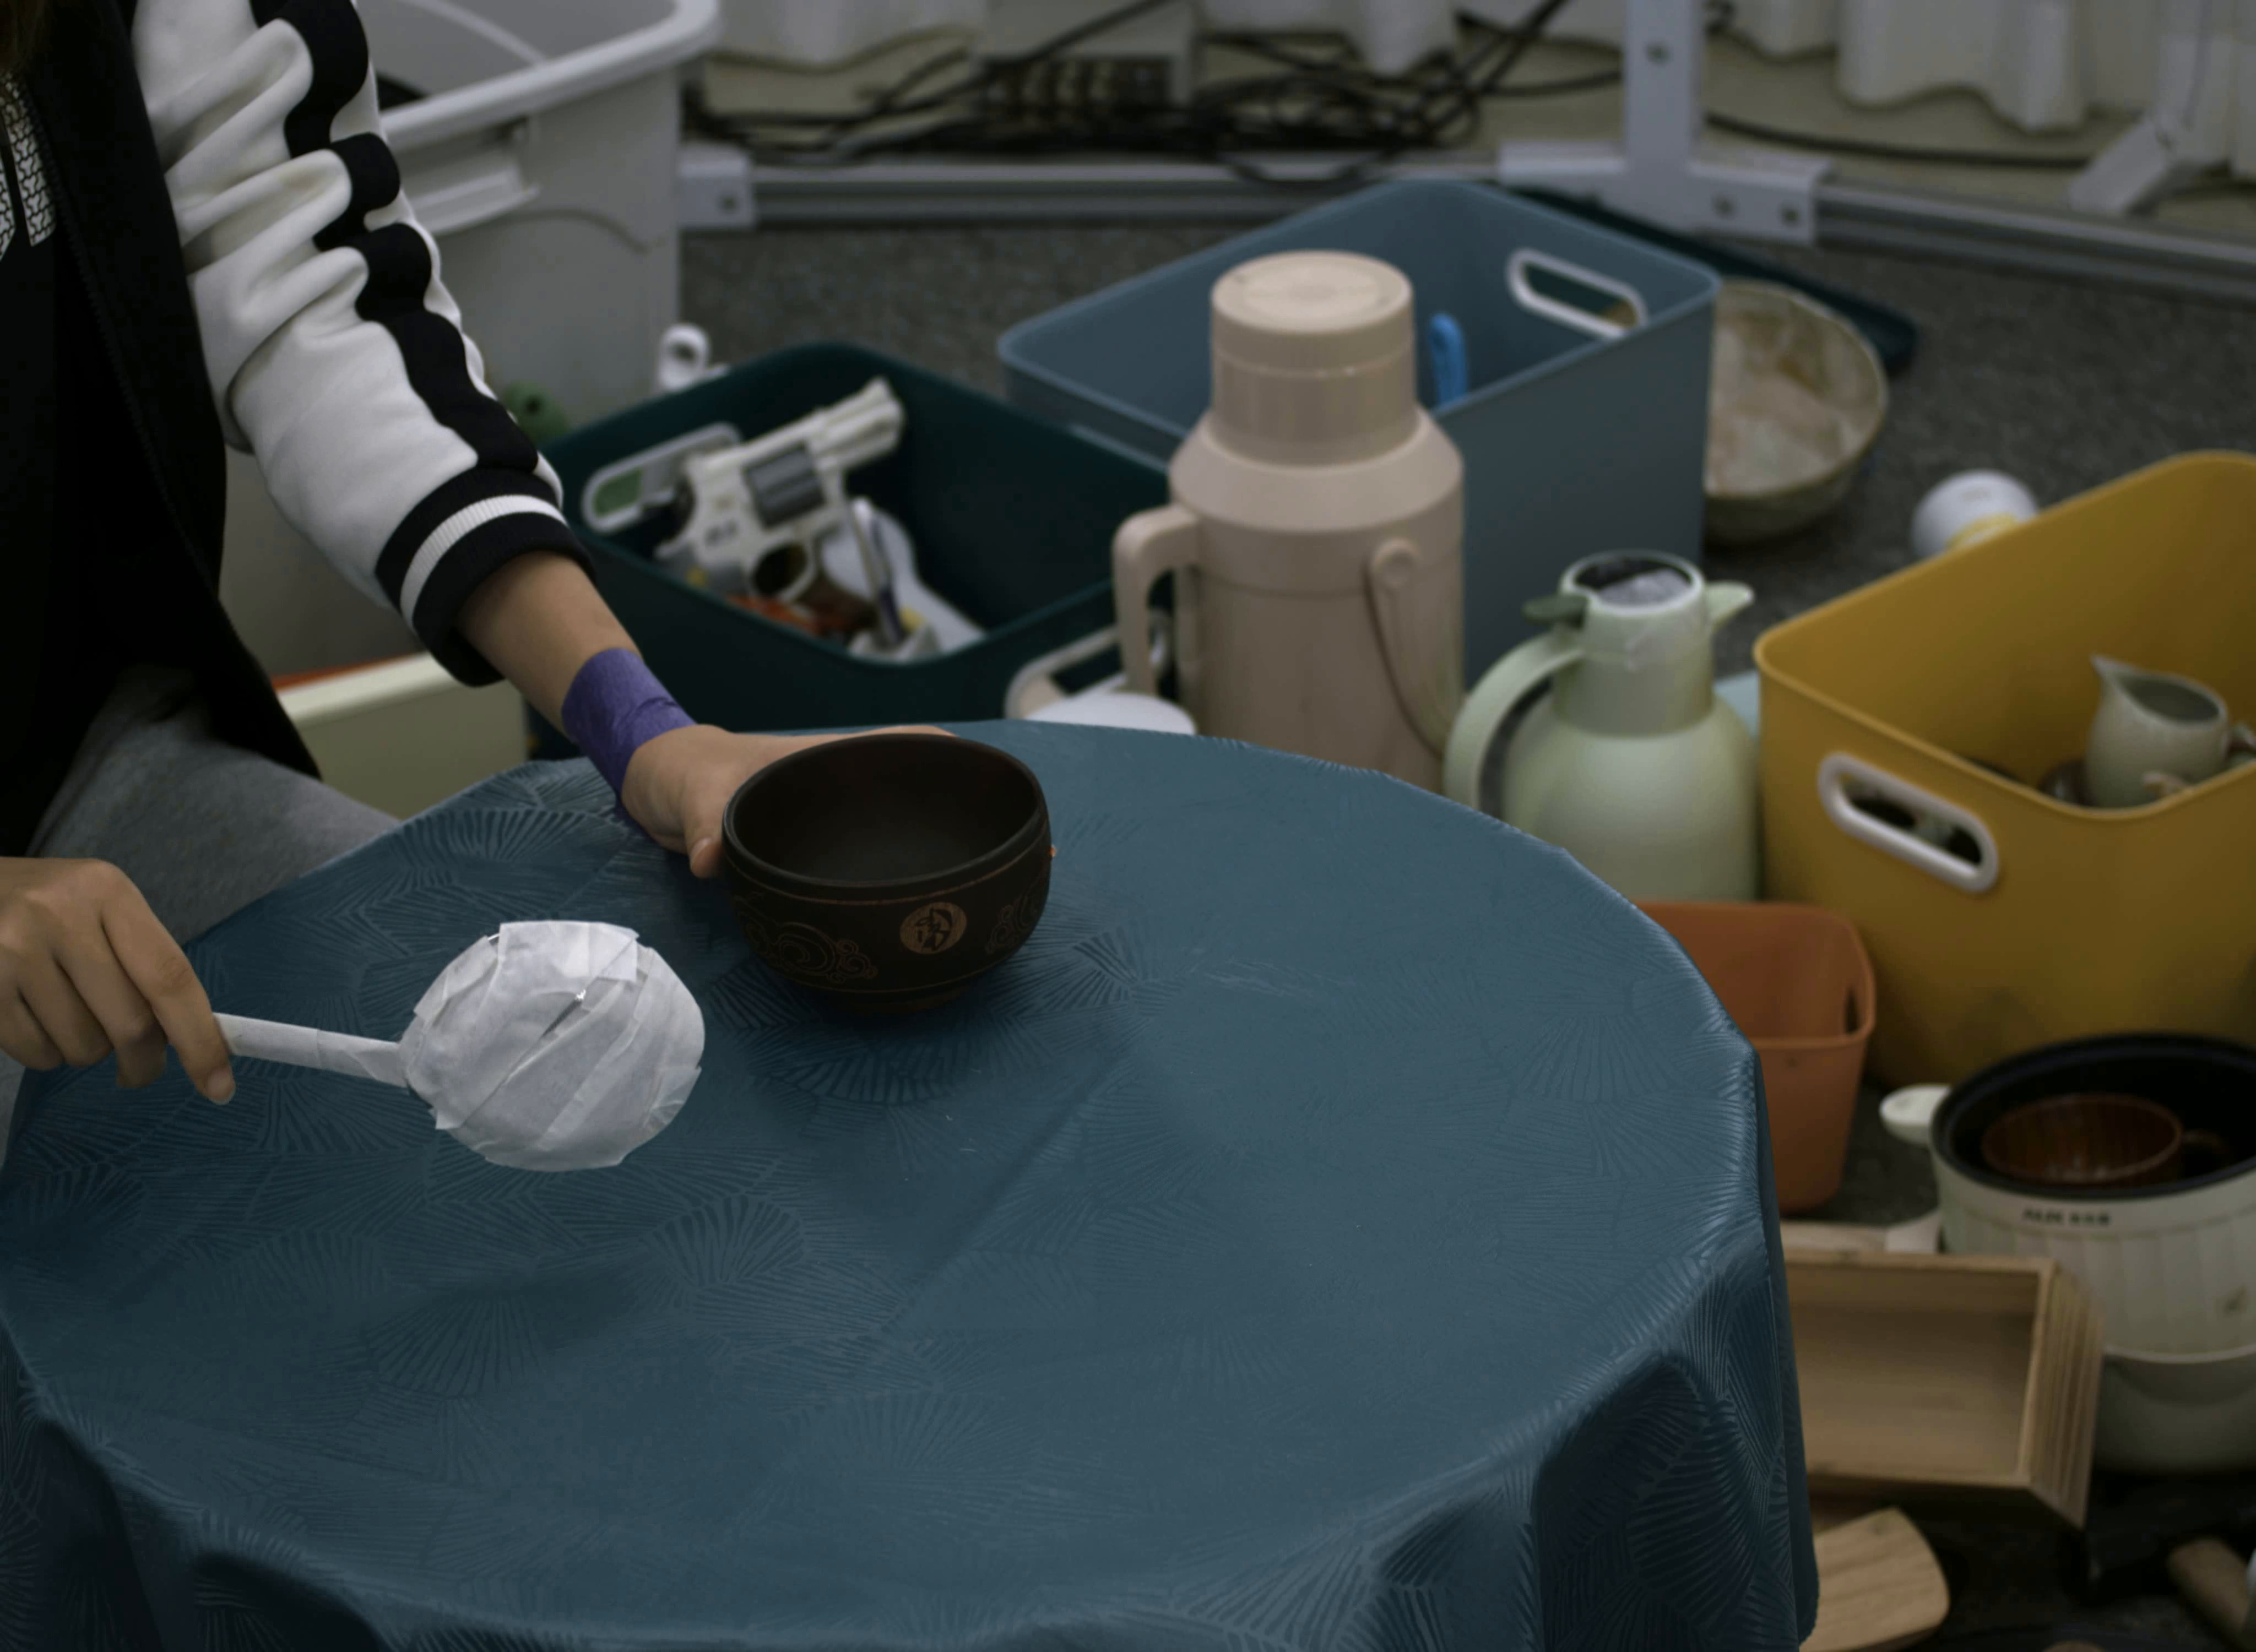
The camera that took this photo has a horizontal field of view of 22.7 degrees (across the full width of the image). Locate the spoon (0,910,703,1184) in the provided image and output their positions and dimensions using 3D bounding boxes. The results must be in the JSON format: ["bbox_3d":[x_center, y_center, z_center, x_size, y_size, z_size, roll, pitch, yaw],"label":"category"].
[{"bbox_3d":[-0.272,0.066,1.862,0.275,0.100,0.060,6,24,27],"label":"spoon"}]

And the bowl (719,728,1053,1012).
[{"bbox_3d":[-0.084,0.022,1.983,0.117,0.069,0.120,-2,27,1],"label":"bowl"}]
